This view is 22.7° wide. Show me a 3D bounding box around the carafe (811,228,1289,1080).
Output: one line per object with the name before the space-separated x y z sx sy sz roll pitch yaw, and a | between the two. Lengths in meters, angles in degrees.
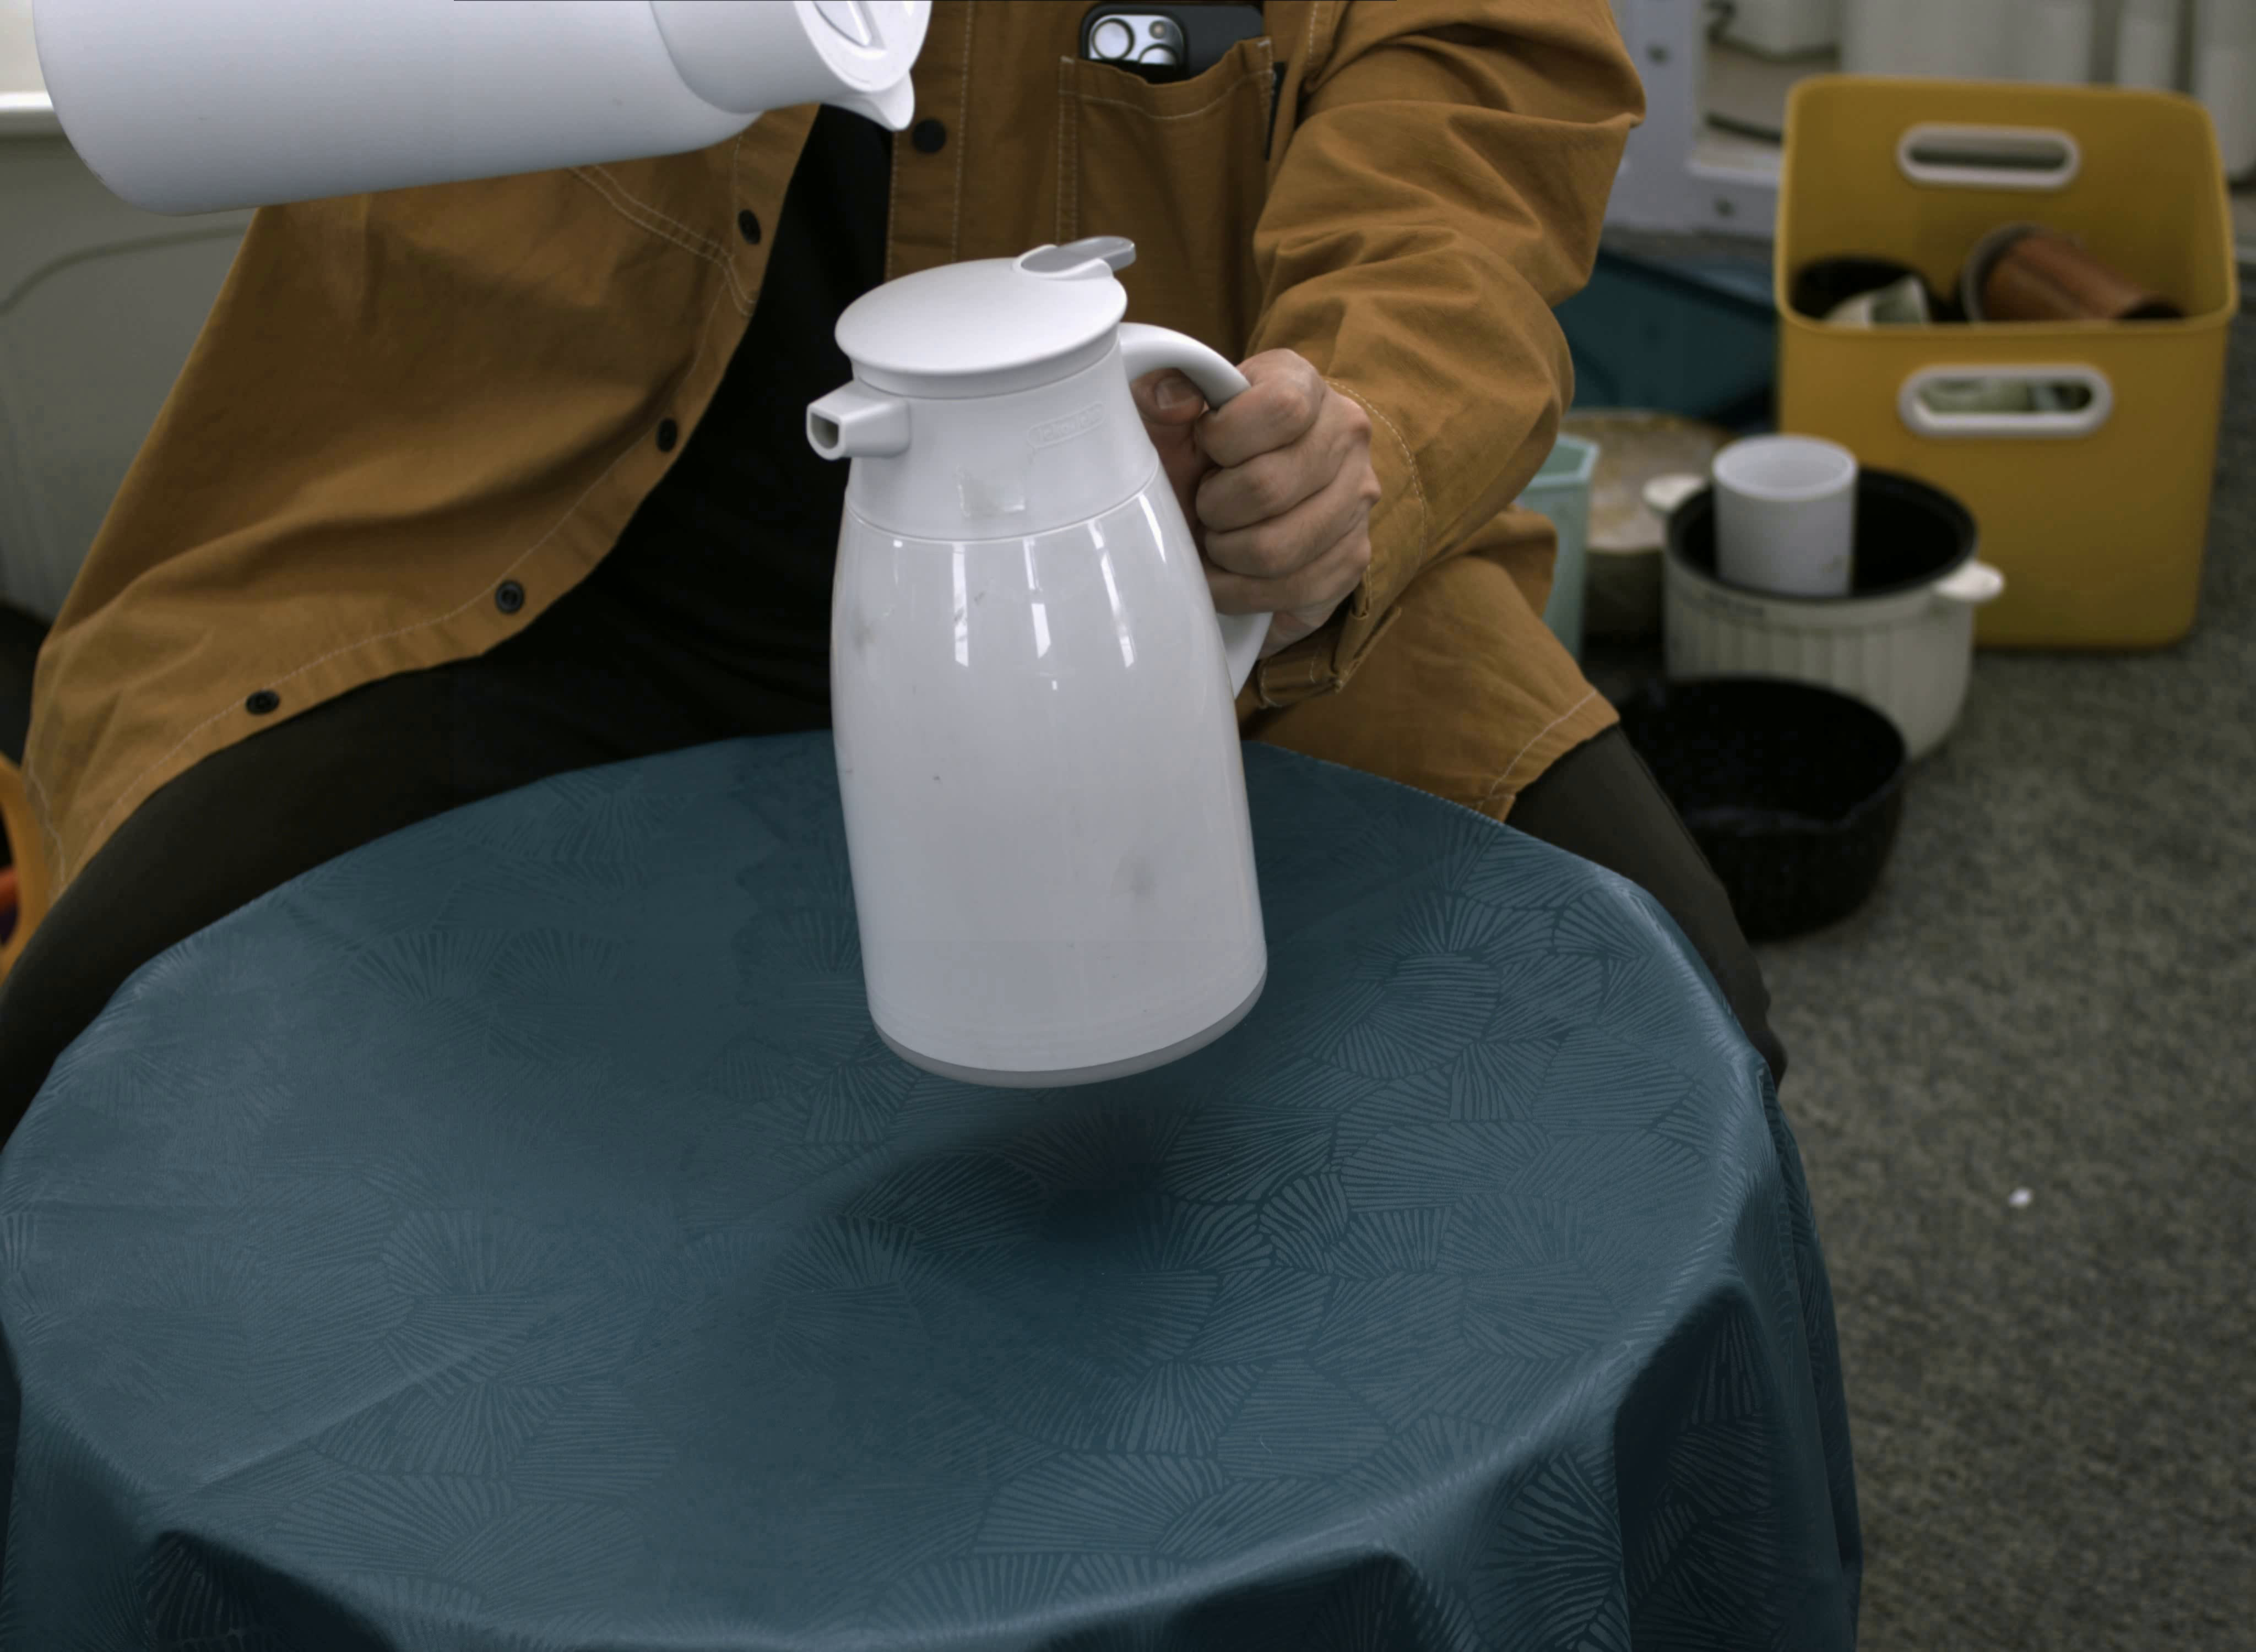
carafe | -0.018 -0.065 1.803 0.169 0.246 0.132 -22 29 -31

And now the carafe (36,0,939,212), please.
carafe | -0.204 -0.274 1.731 0.266 0.171 0.126 -4 39 27
